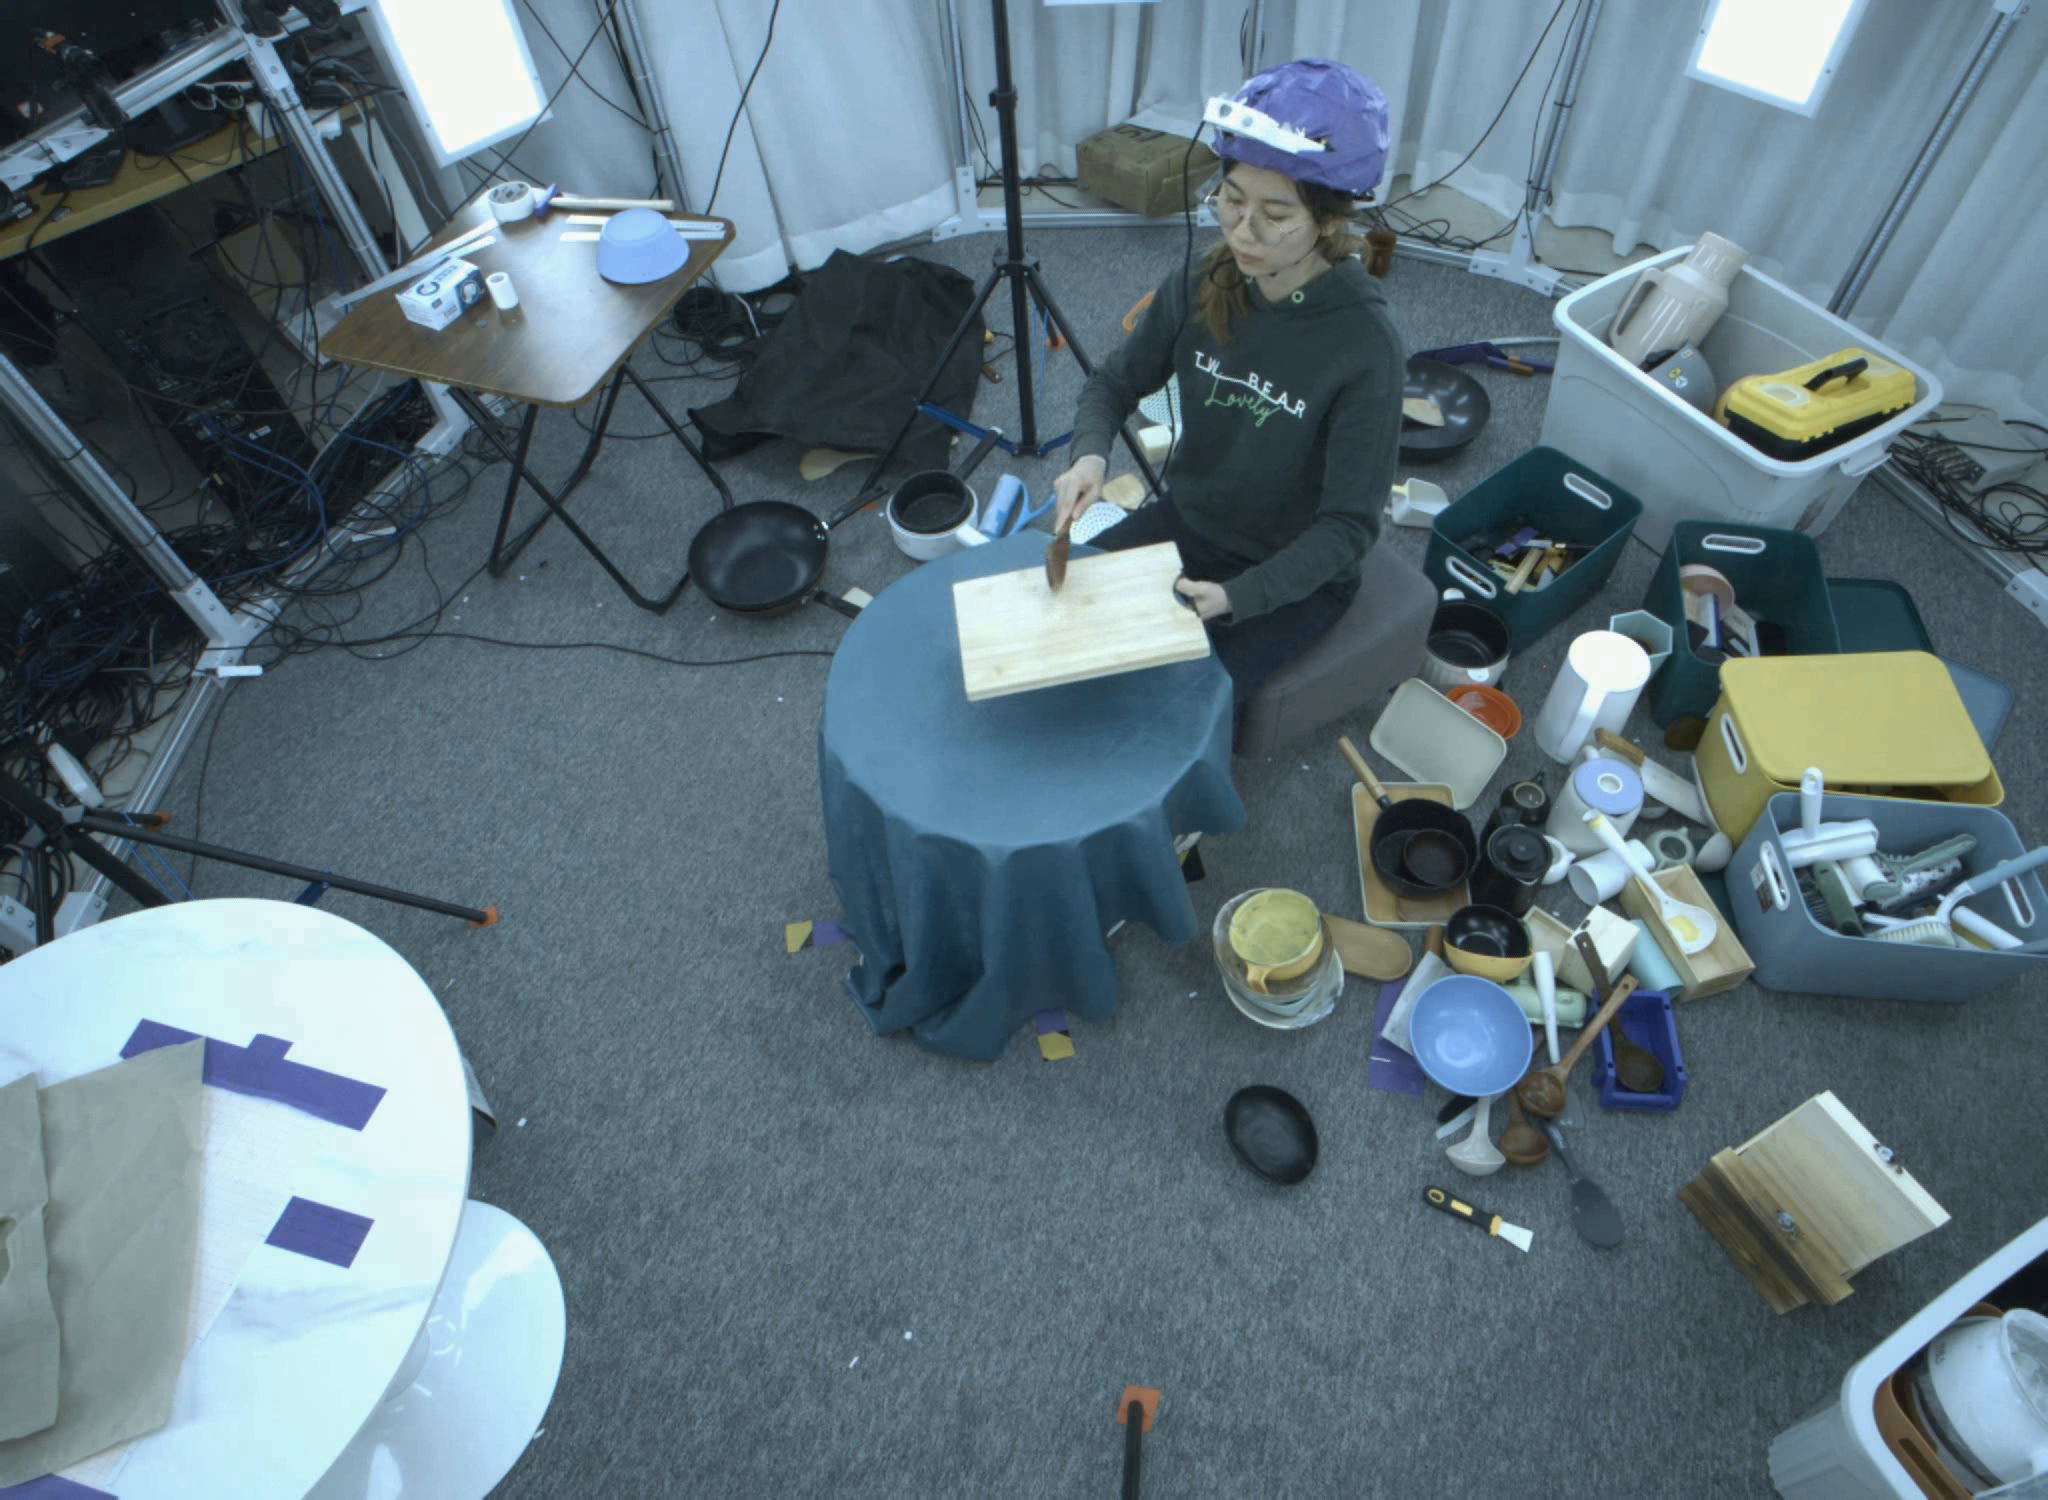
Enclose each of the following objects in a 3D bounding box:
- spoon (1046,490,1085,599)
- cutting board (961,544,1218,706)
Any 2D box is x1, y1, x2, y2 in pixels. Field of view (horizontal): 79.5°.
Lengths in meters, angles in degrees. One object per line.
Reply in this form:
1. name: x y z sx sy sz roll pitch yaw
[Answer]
1. spoon: 0.061 -0.312 1.822 0.017 0.077 0.215 2 52 20
2. cutting board: 0.083 -0.186 1.773 0.349 0.024 0.247 -11 49 -1
